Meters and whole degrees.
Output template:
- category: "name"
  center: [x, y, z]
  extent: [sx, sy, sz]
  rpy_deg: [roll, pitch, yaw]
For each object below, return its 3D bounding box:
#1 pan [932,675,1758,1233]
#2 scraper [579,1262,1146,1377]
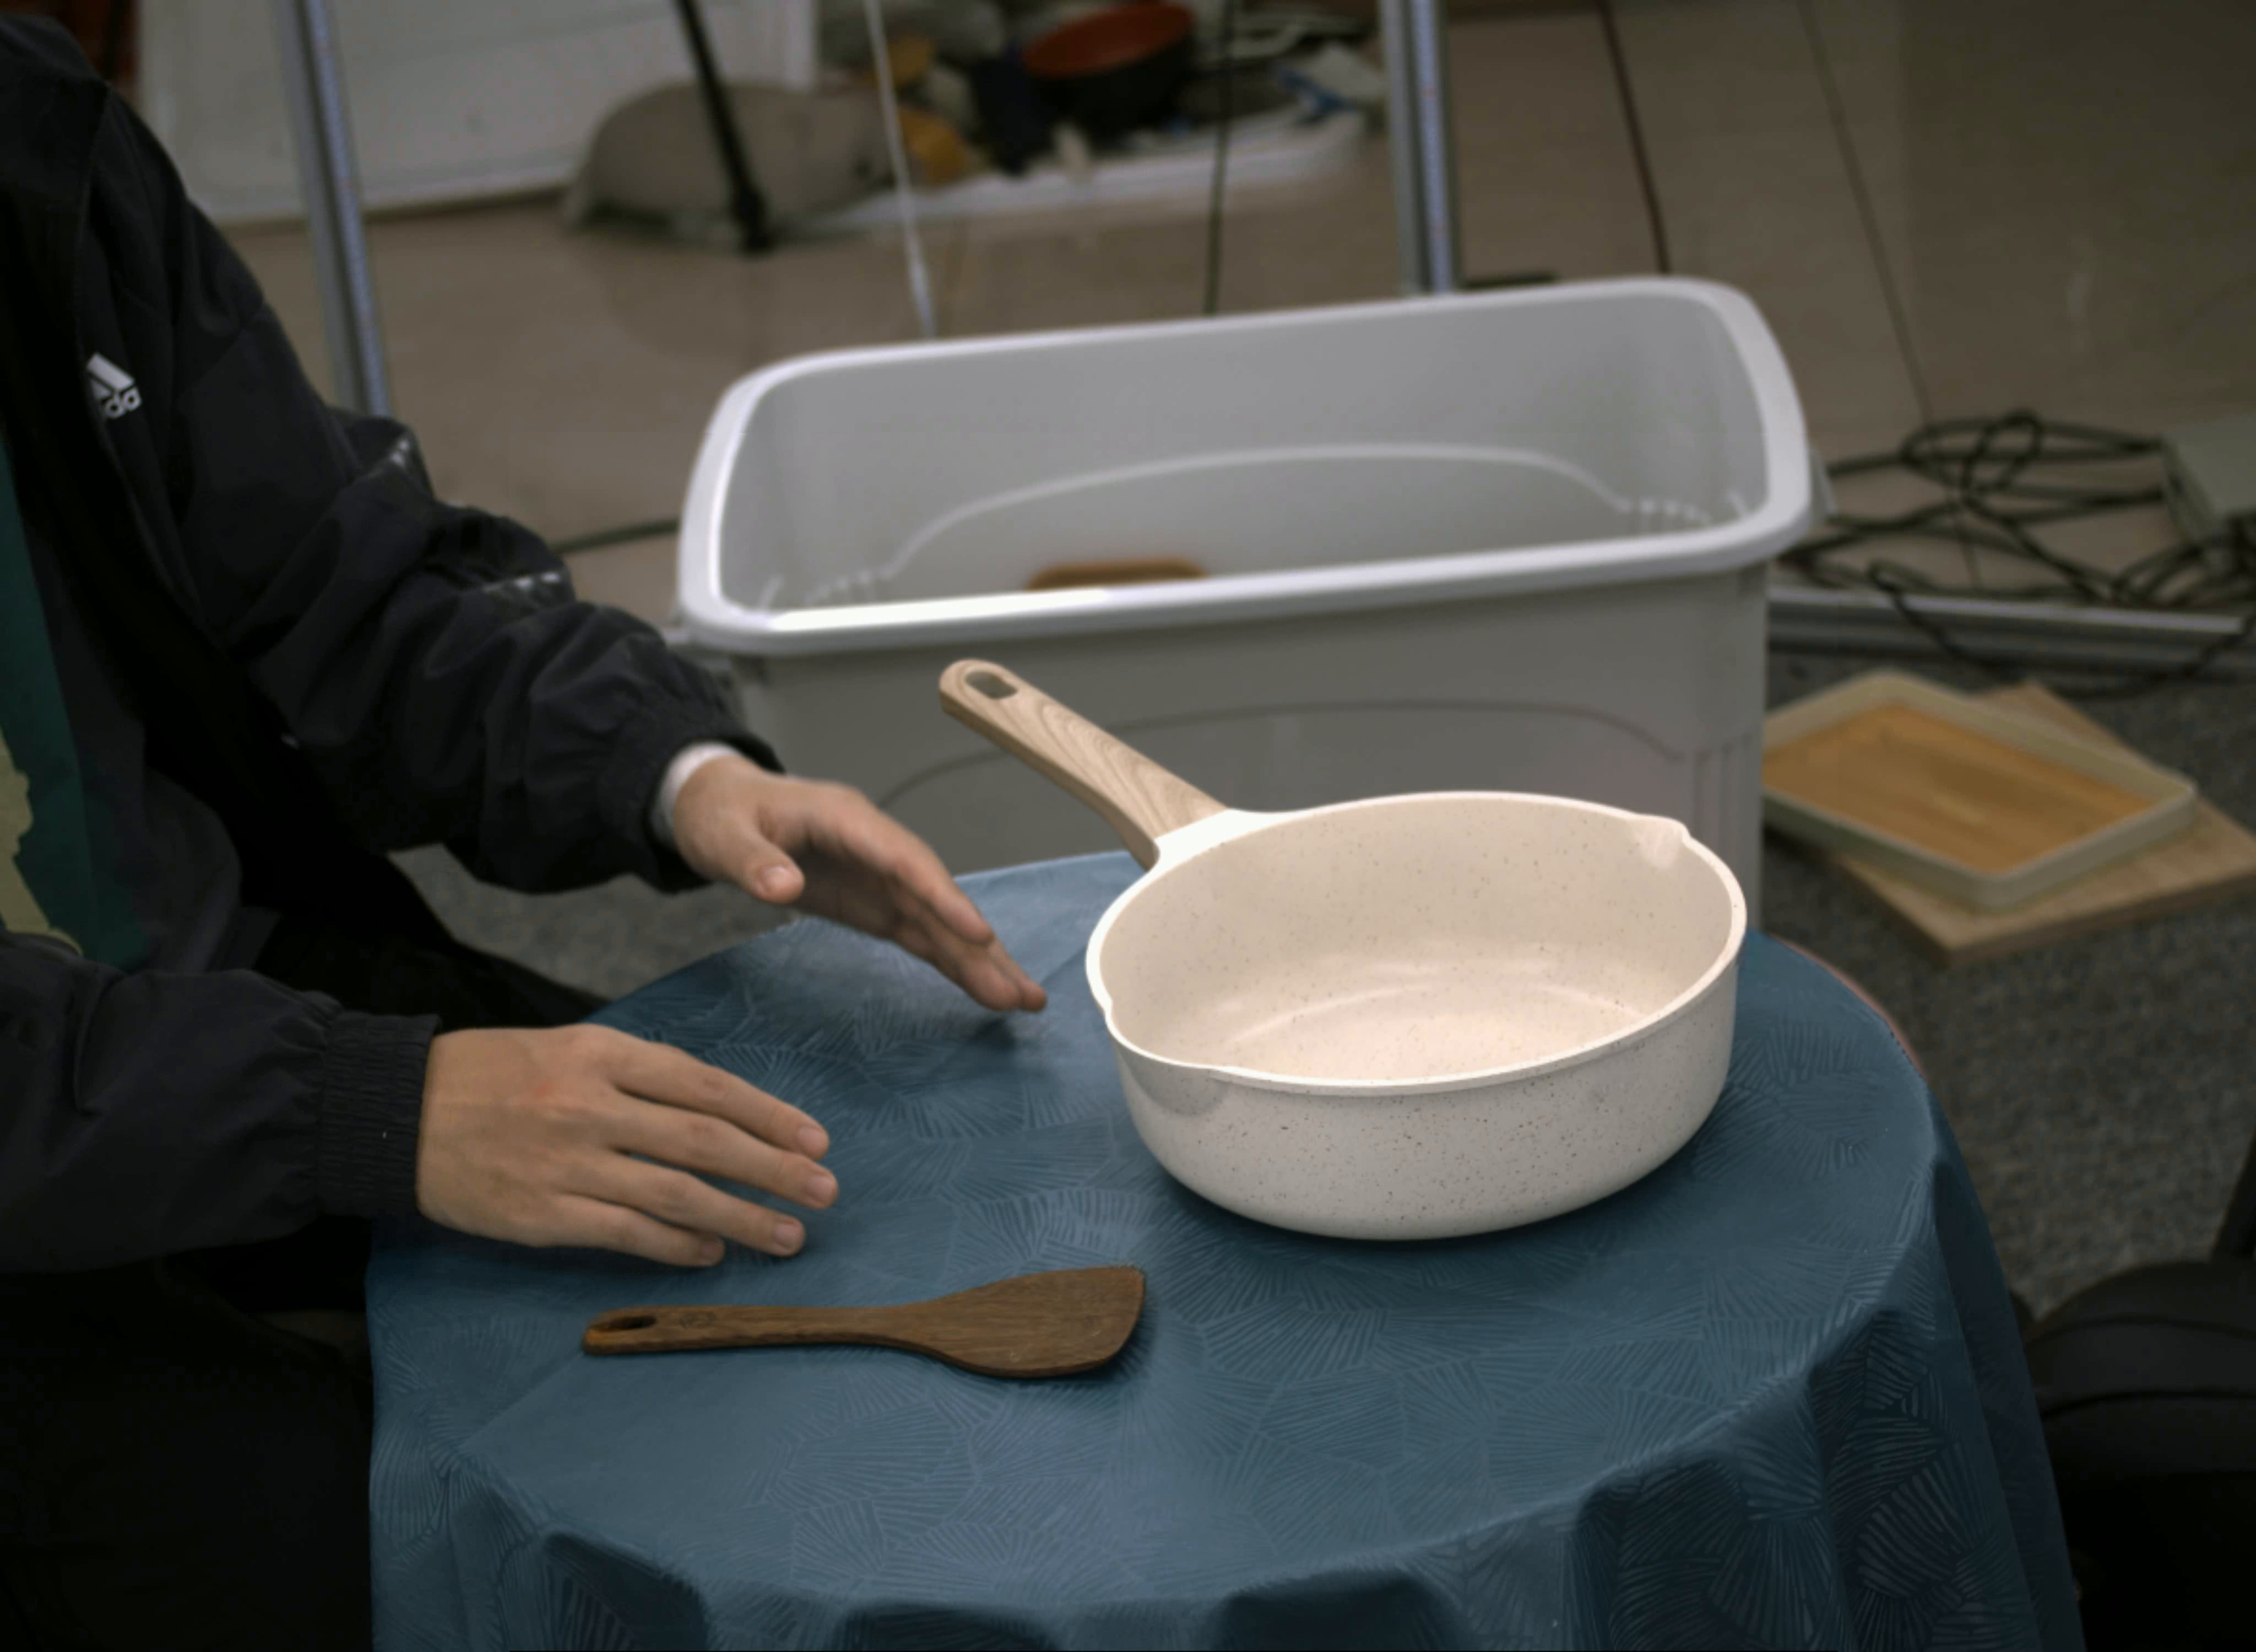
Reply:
- category: "pan"
  center: [0.062, 0.041, 2.224]
  extent: [0.261, 0.103, 0.431]
  rpy_deg: [-24, 29, -29]
- category: "scraper"
  center: [-0.098, 0.182, 2.069]
  extent: [0.211, 0.011, 0.075]
  rpy_deg: [-2, 24, 11]
